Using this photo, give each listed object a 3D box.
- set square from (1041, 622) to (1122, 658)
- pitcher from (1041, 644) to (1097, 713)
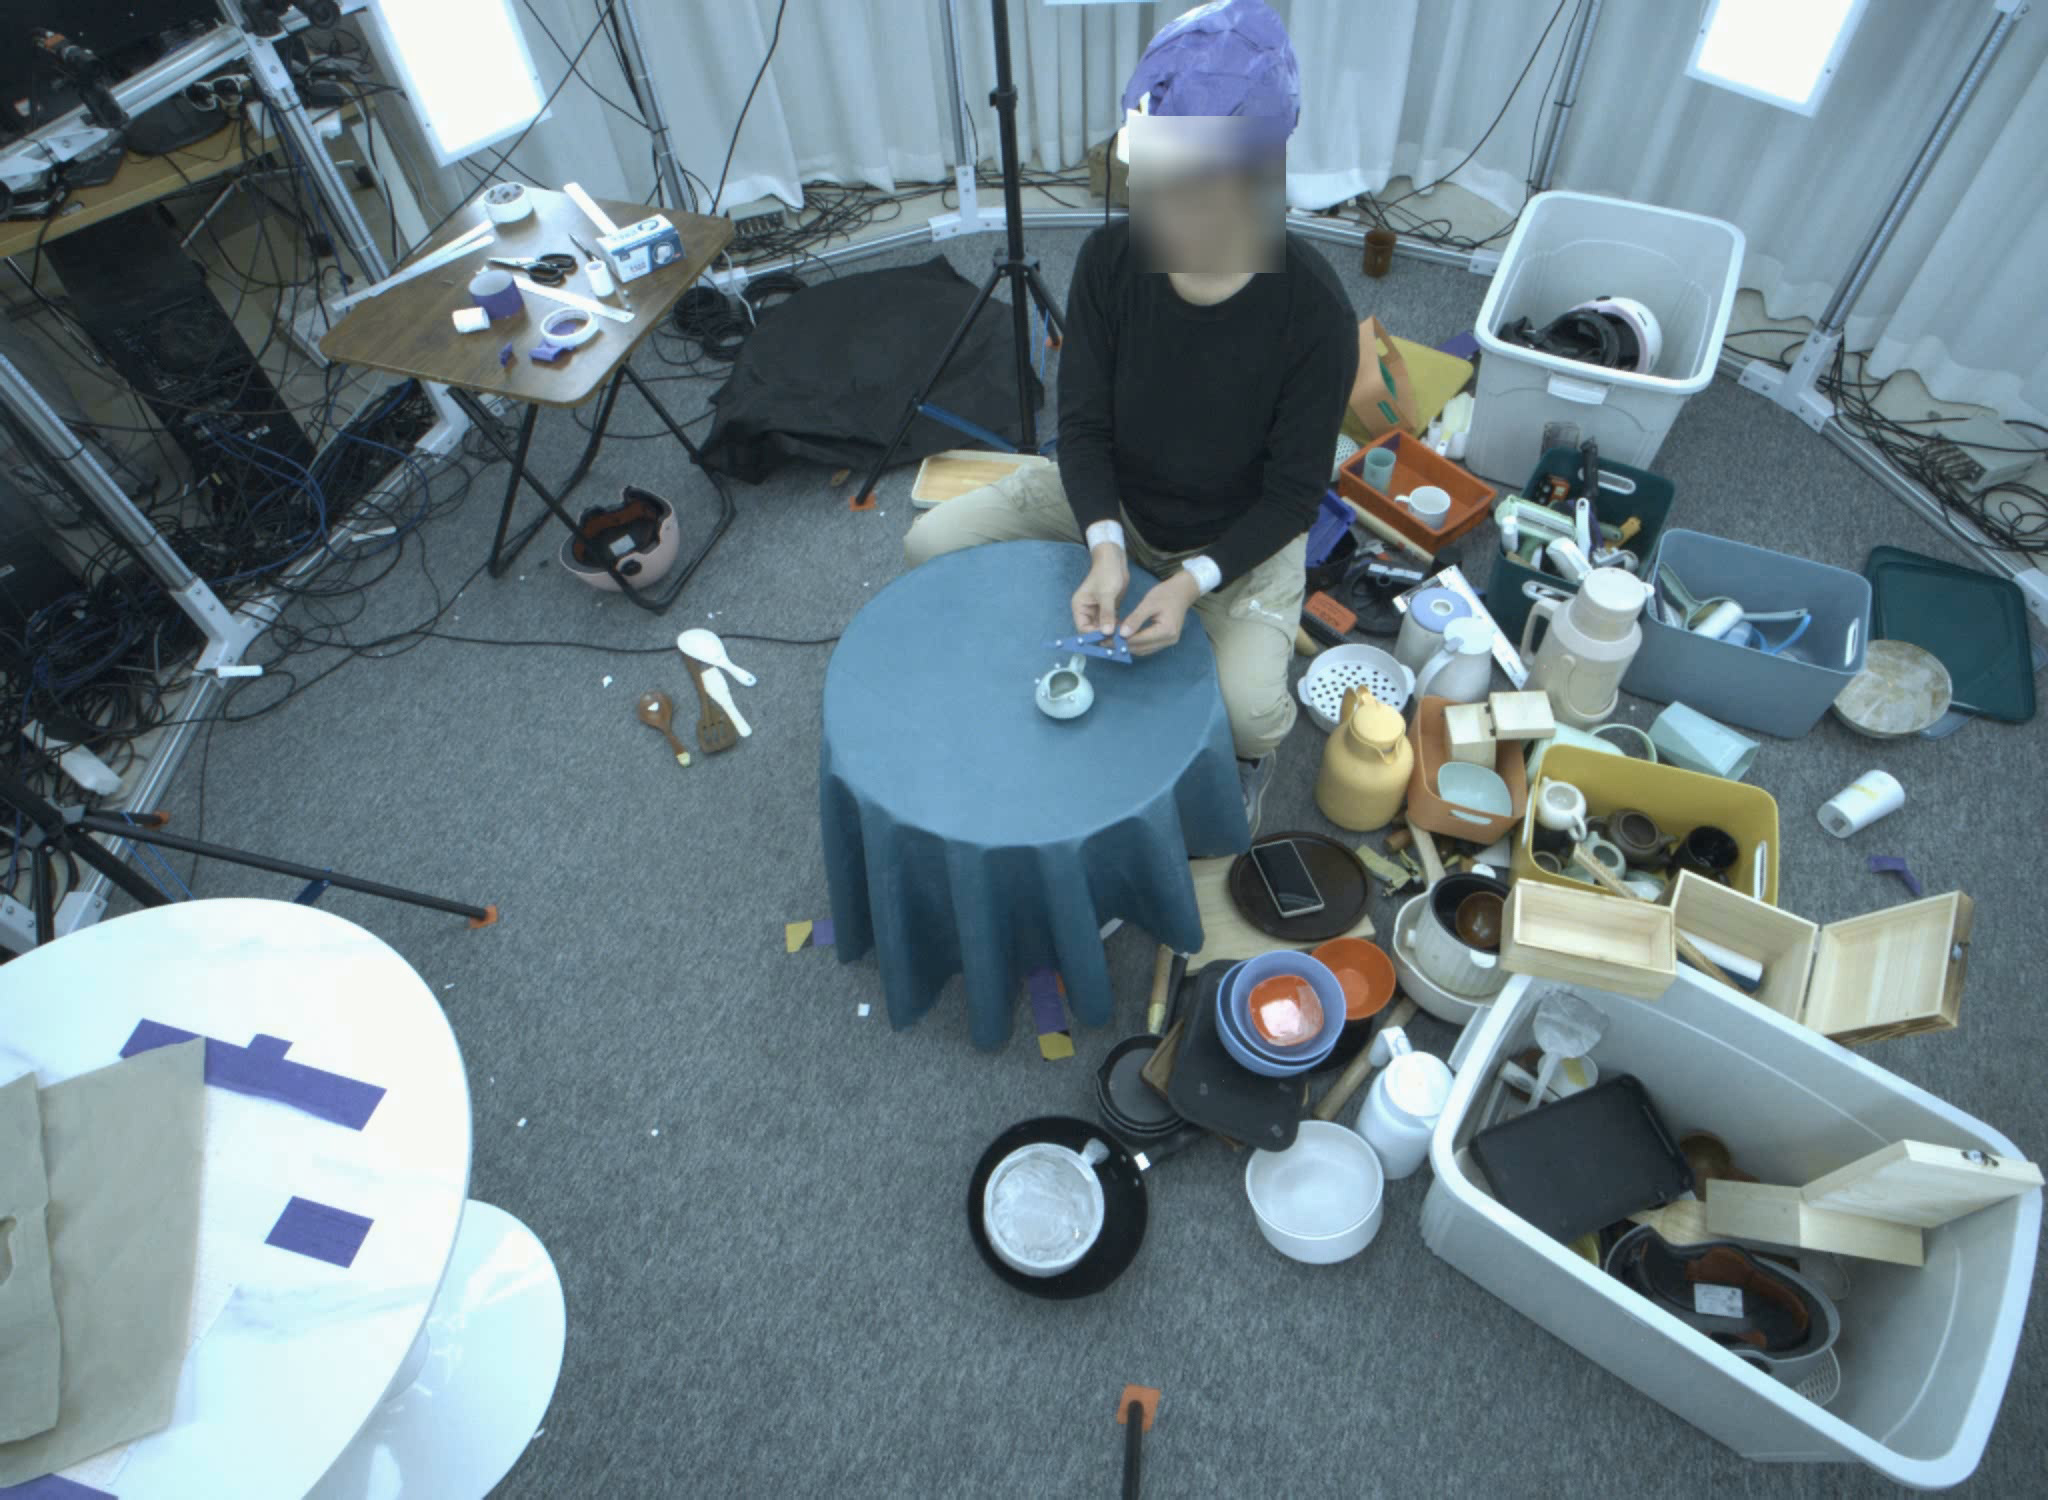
[{"bbox_3d":[0.092,-0.173,1.805,0.130,0.006,0.061,16,64,18],"label":"set square"},{"bbox_3d":[0.070,-0.106,1.819,0.084,0.061,0.108,31,79,33],"label":"pitcher"}]
